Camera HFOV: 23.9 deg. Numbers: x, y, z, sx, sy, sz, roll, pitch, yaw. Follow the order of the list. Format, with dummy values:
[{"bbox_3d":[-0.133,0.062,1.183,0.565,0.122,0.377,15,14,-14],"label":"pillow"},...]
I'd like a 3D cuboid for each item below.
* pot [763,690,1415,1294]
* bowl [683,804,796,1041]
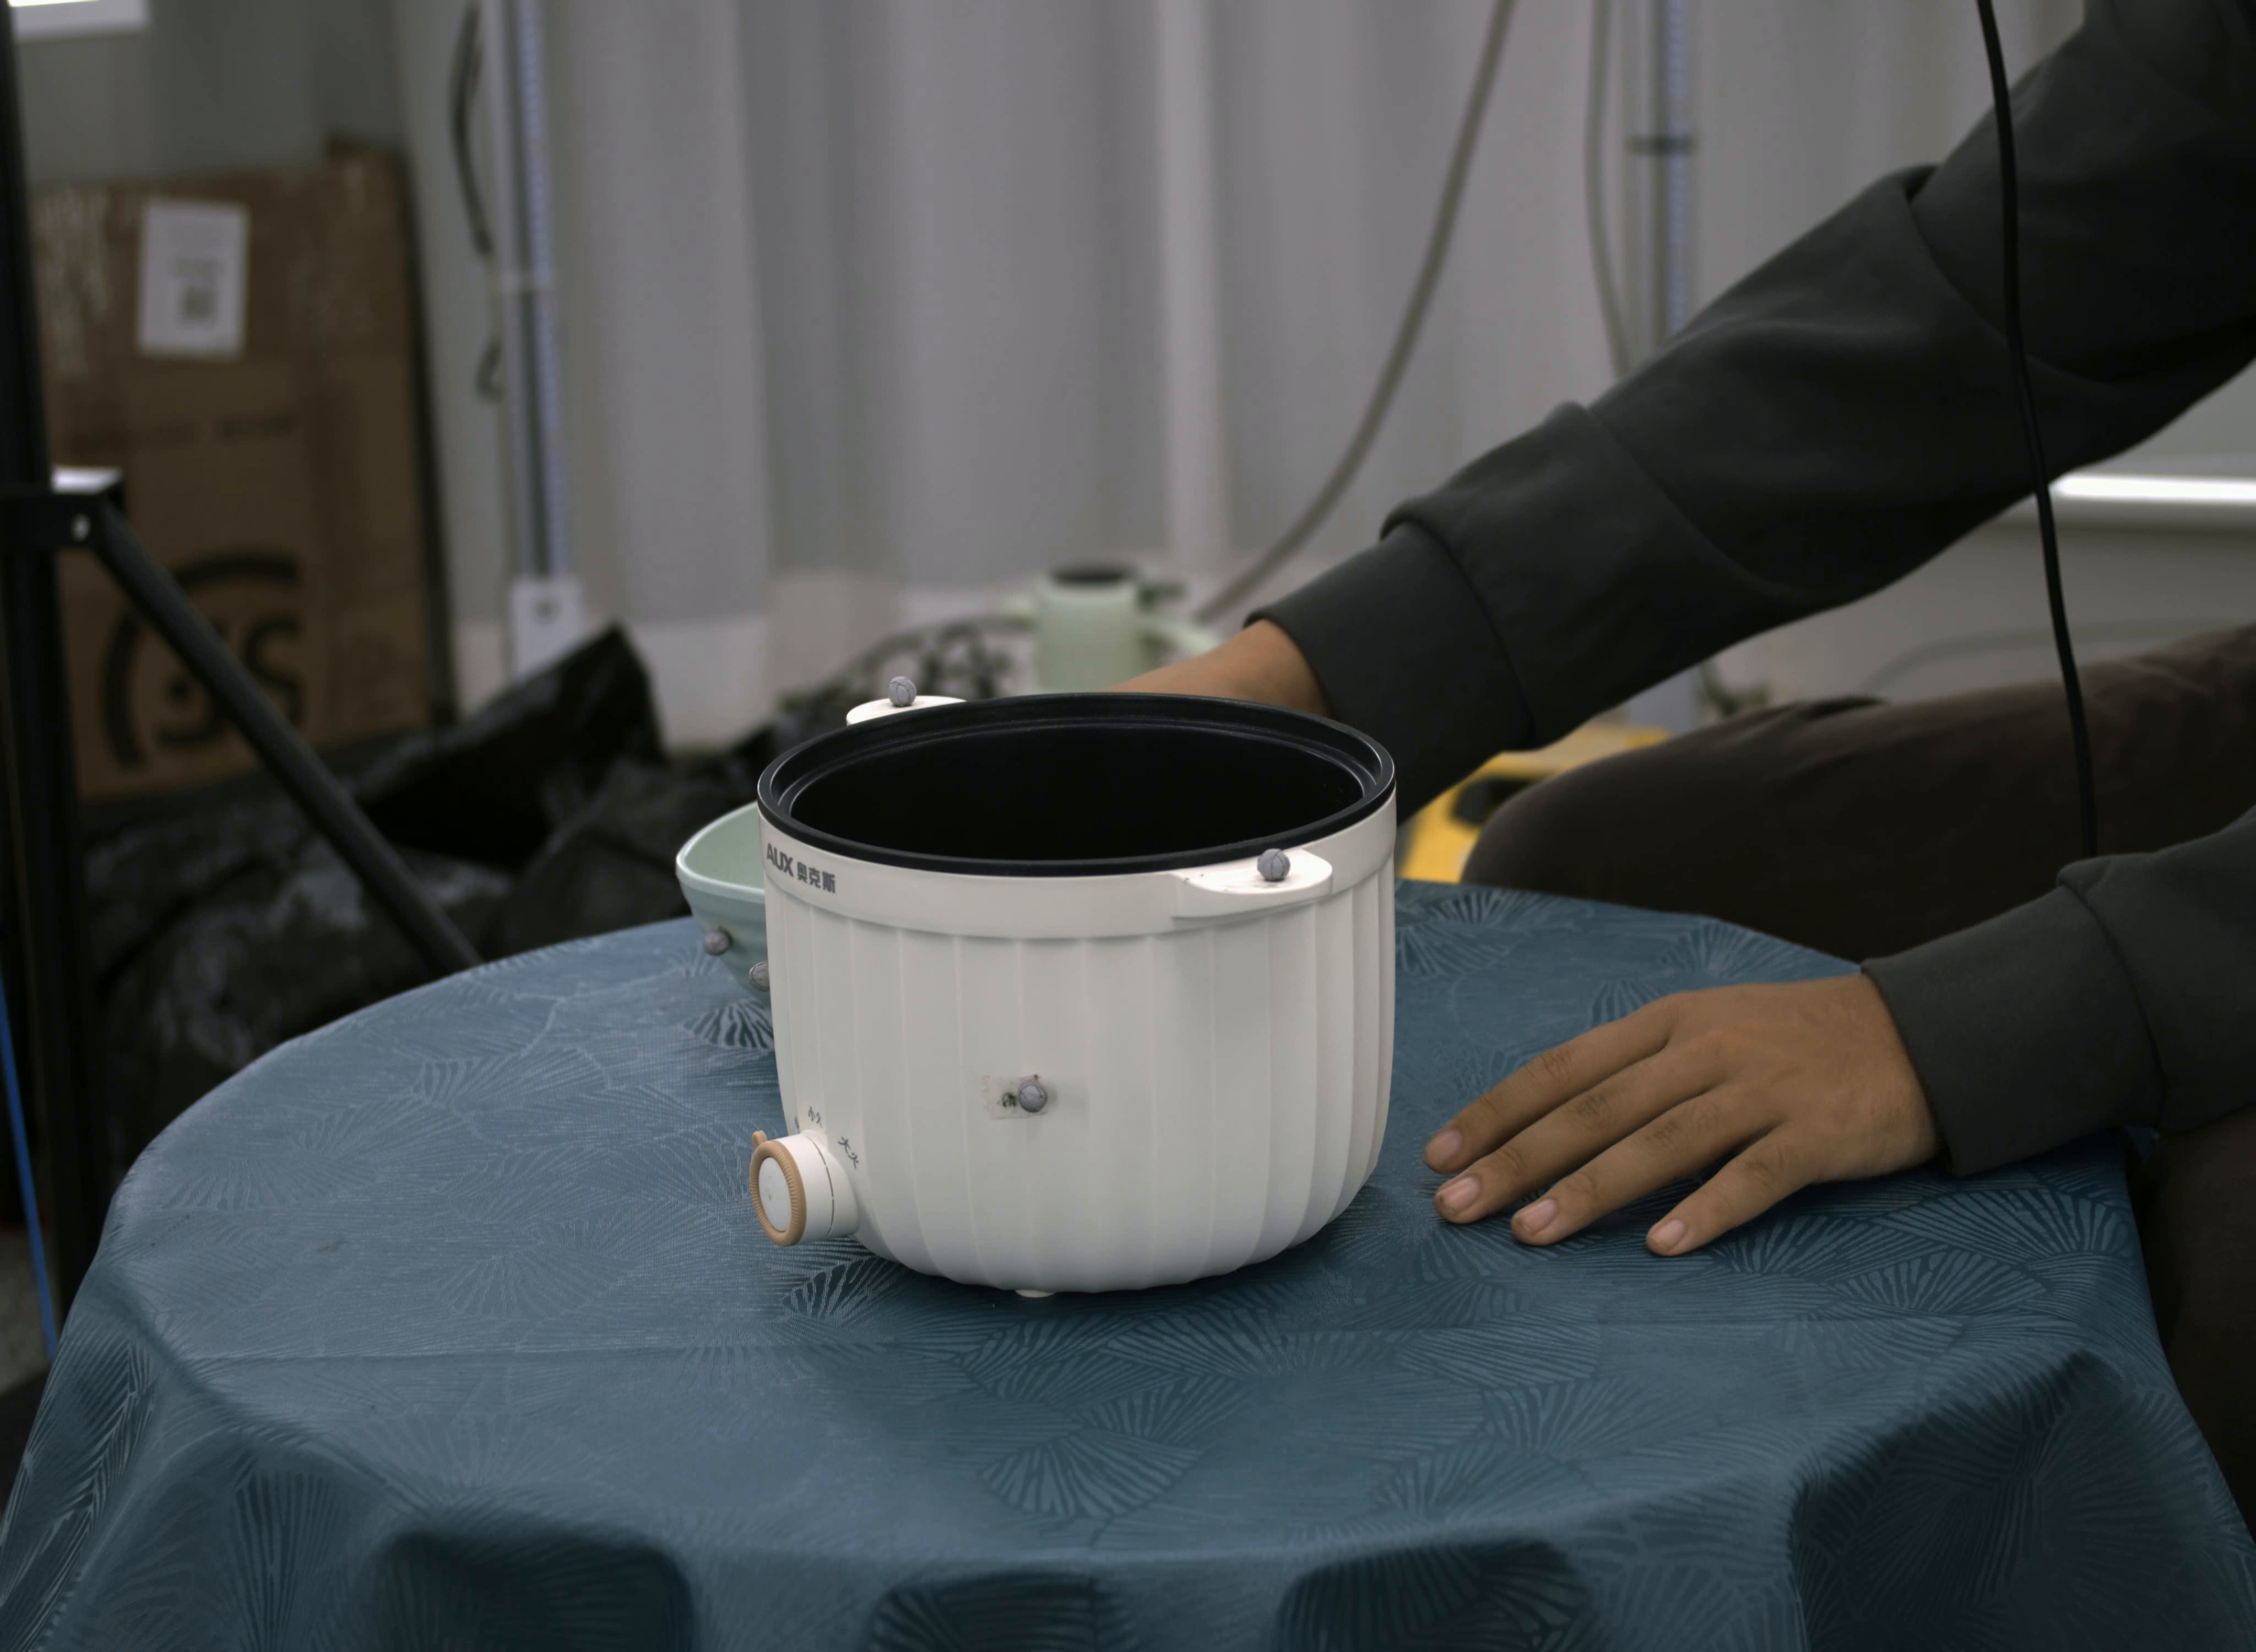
[{"bbox_3d":[-0.014,0.049,1.511,0.186,0.143,0.245,-7,14,-29],"label":"pot"},{"bbox_3d":[-0.069,0.034,1.730,0.151,0.058,0.152,-3,17,0],"label":"bowl"}]
